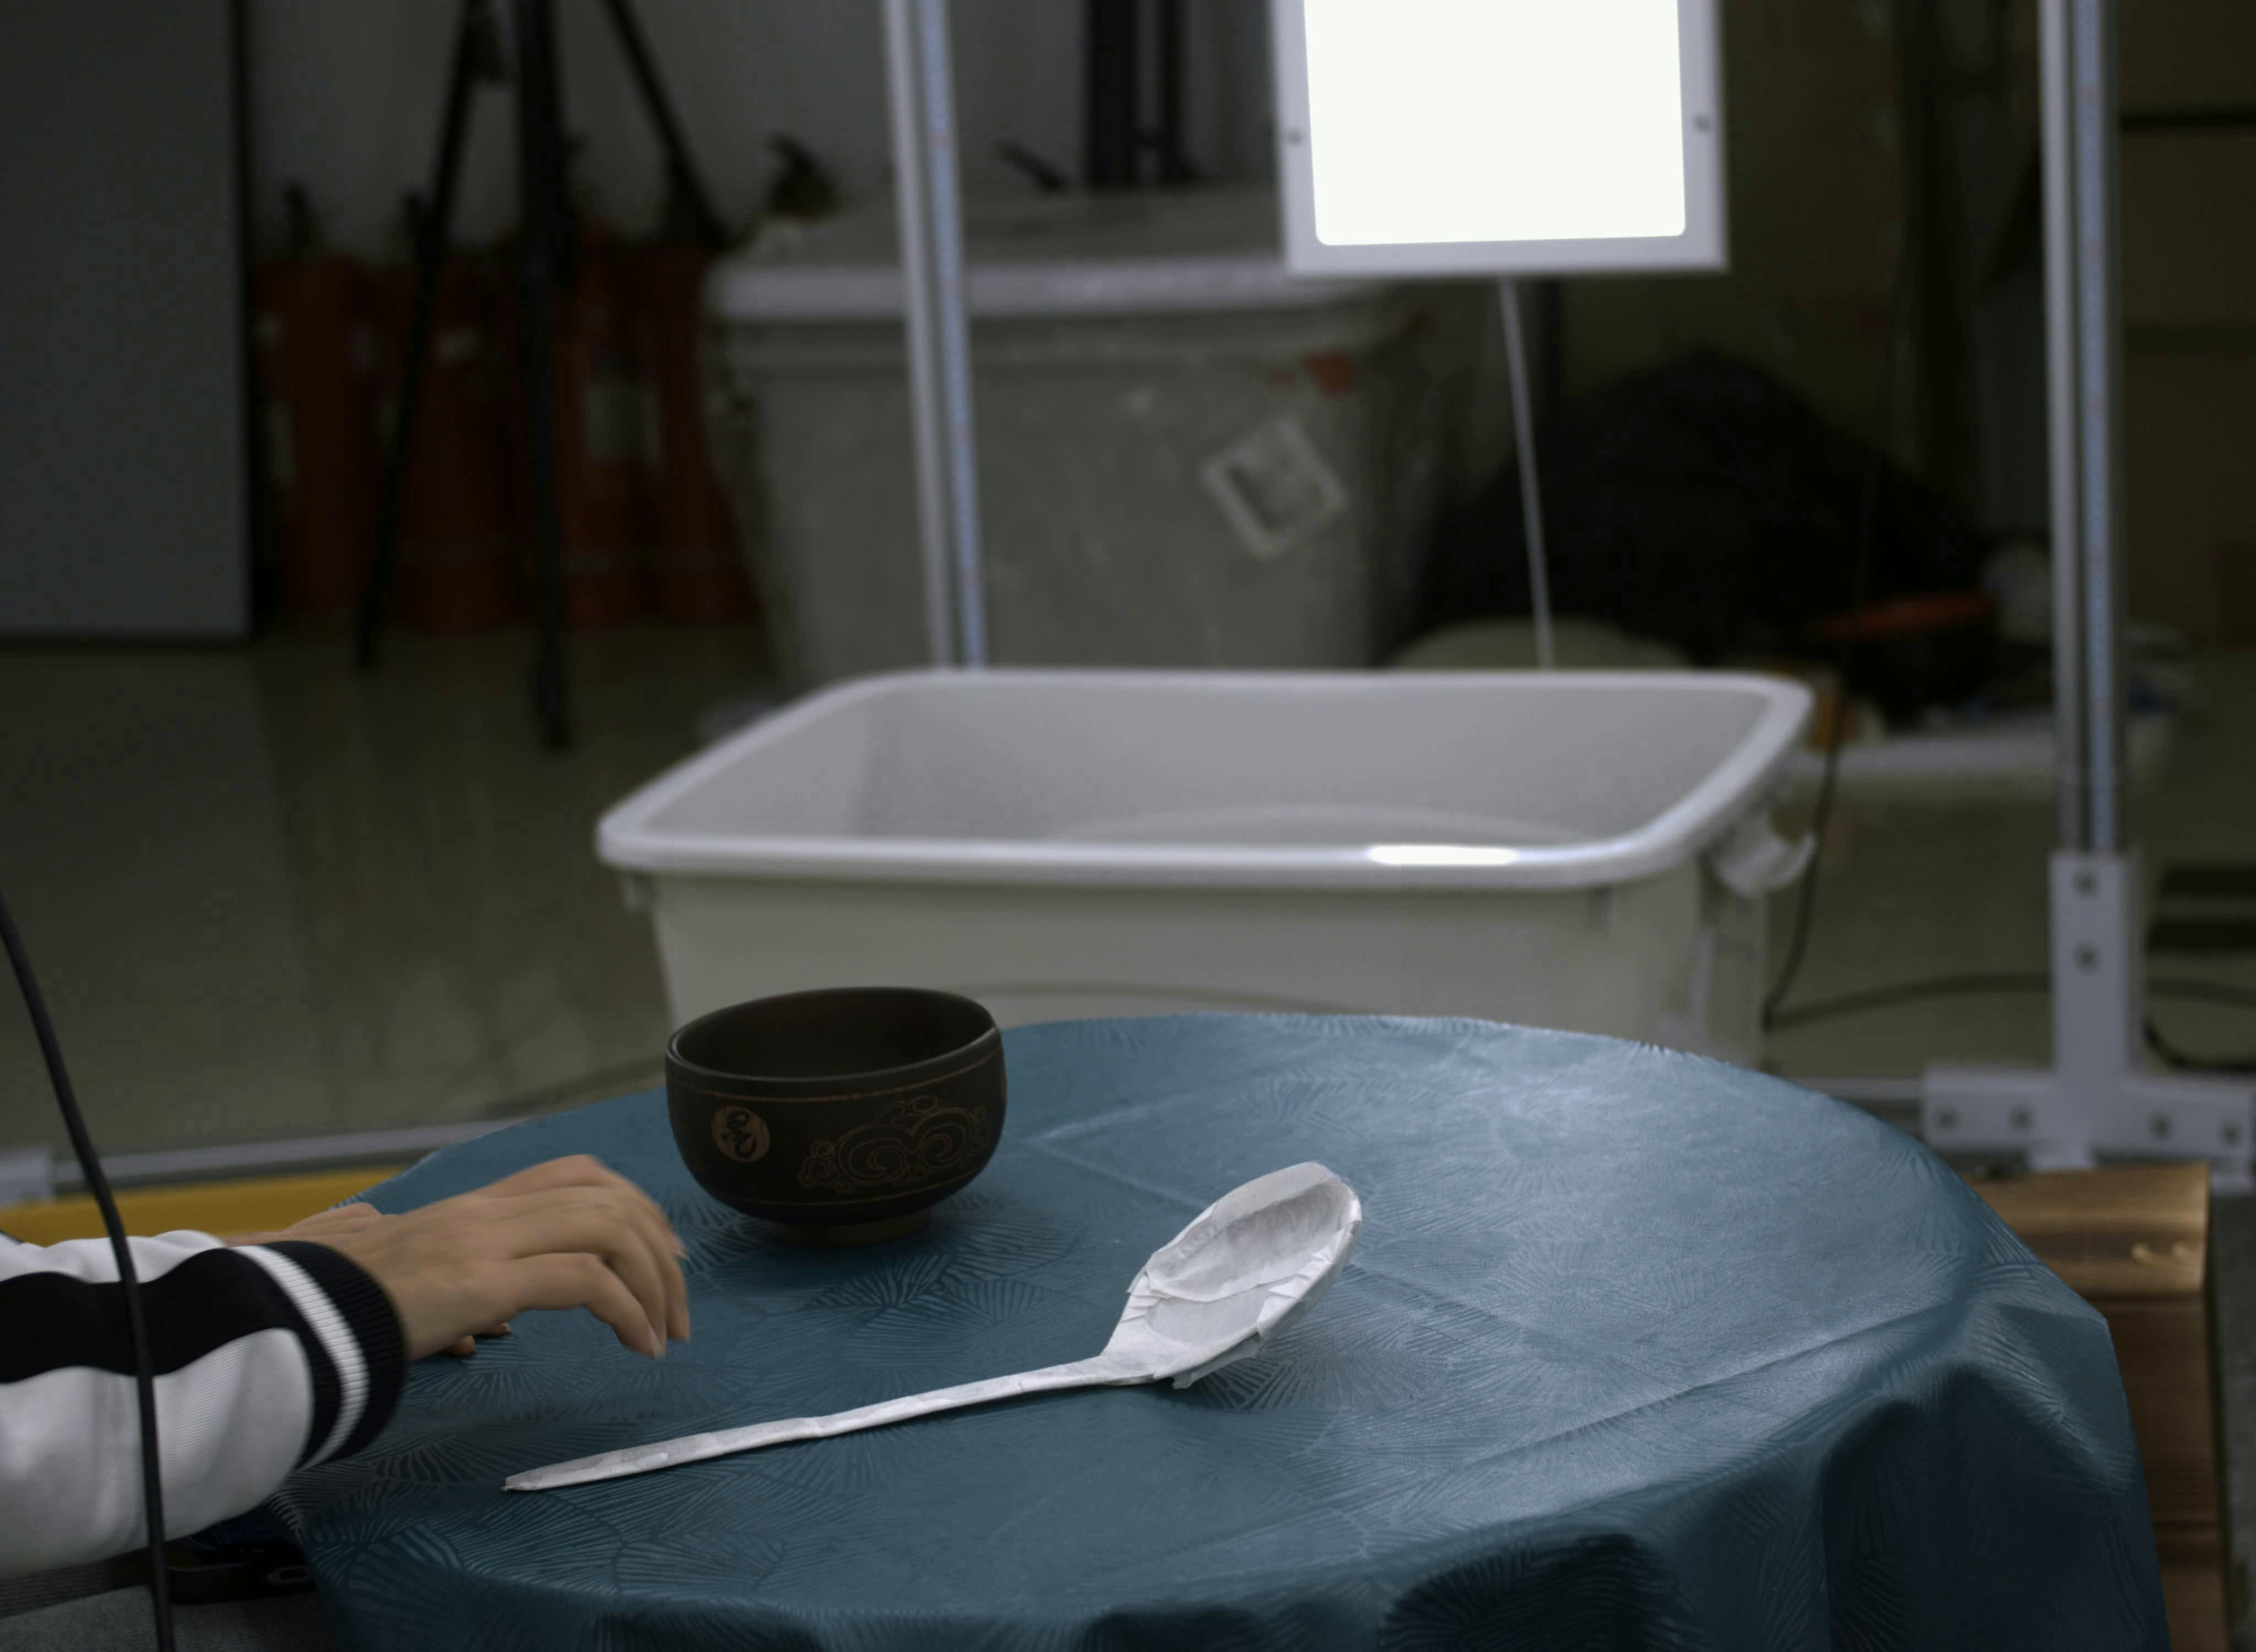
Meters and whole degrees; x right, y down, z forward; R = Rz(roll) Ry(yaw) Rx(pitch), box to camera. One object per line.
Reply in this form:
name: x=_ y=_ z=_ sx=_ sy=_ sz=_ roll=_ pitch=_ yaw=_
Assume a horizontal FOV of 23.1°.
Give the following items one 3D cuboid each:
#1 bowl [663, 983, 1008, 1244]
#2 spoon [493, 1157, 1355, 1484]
bowl: x=-0.098 y=0.101 z=1.883 sx=0.118 sy=0.070 sz=0.118 roll=-5 pitch=14 yaw=0
spoon: x=-0.062 y=0.151 z=1.700 sx=0.274 sy=0.059 sz=0.101 roll=-8 pitch=11 yaw=-12
